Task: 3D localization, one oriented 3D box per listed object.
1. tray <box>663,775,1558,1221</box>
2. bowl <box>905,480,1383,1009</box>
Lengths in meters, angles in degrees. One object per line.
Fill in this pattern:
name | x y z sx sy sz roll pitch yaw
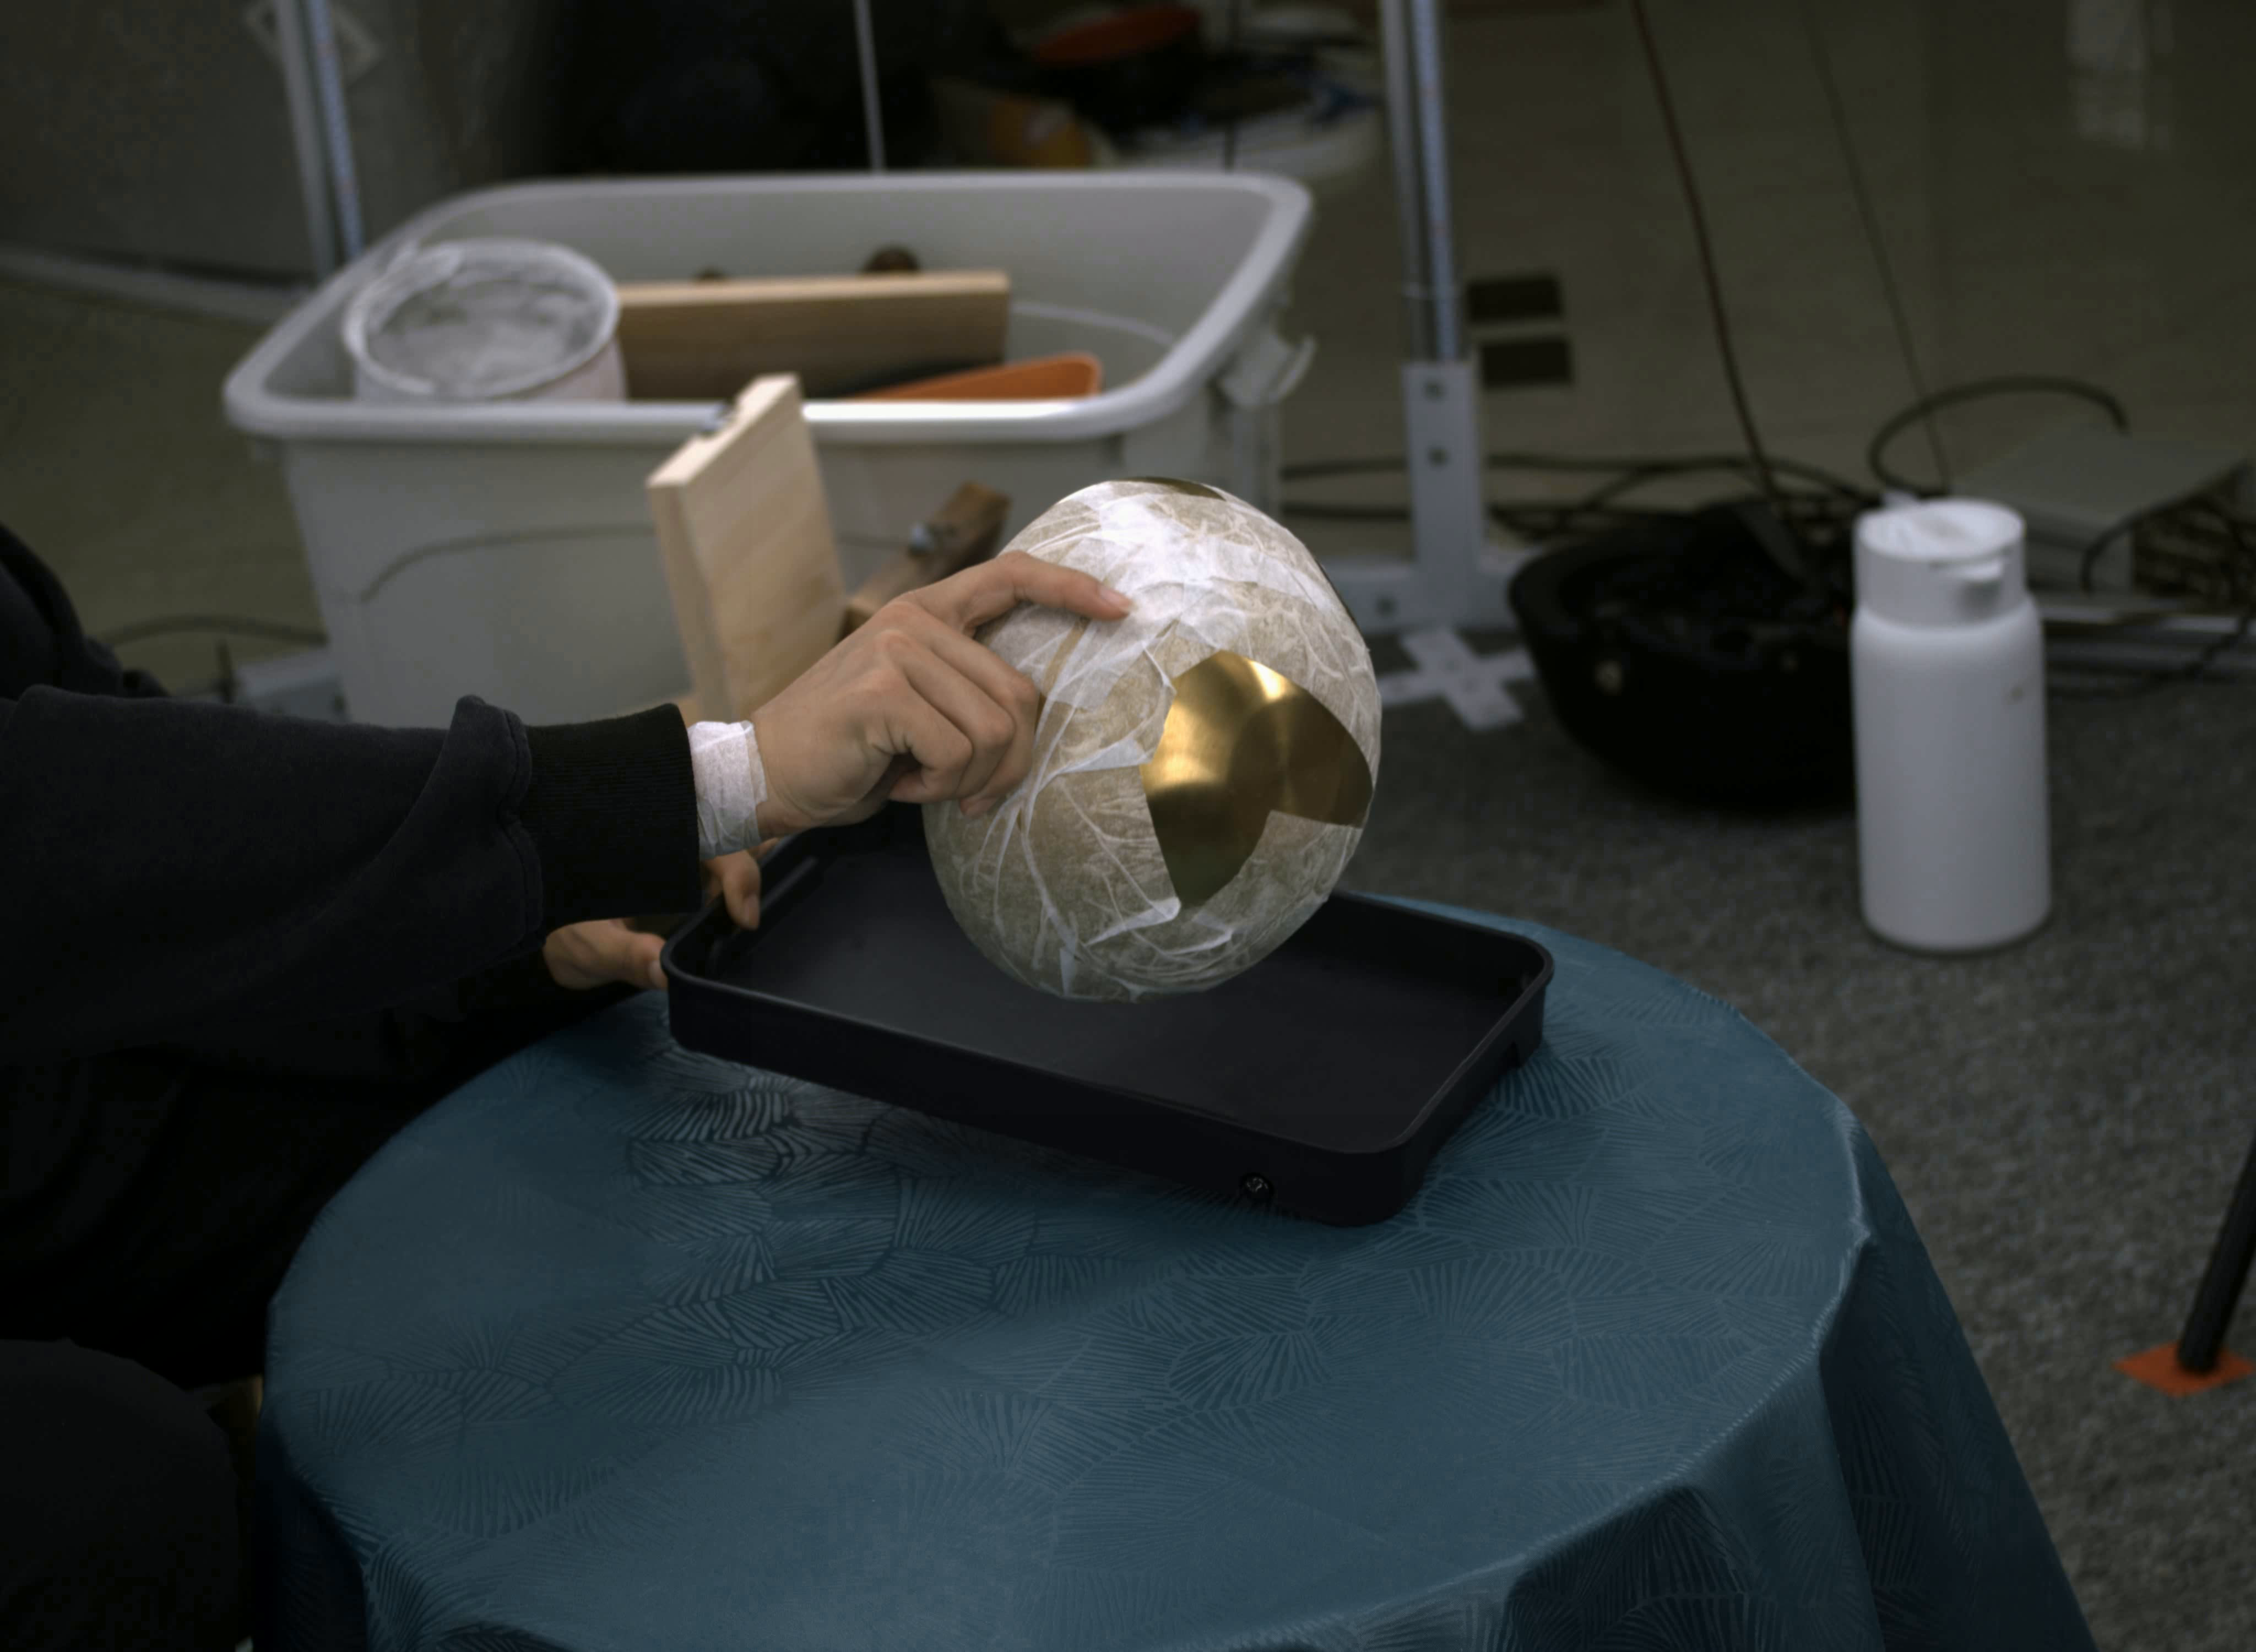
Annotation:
tray | -0.007 0.064 2.217 0.316 0.038 0.182 14 33 23
bowl | 0.024 -0.021 2.109 0.213 0.218 0.094 -26 29 -35
